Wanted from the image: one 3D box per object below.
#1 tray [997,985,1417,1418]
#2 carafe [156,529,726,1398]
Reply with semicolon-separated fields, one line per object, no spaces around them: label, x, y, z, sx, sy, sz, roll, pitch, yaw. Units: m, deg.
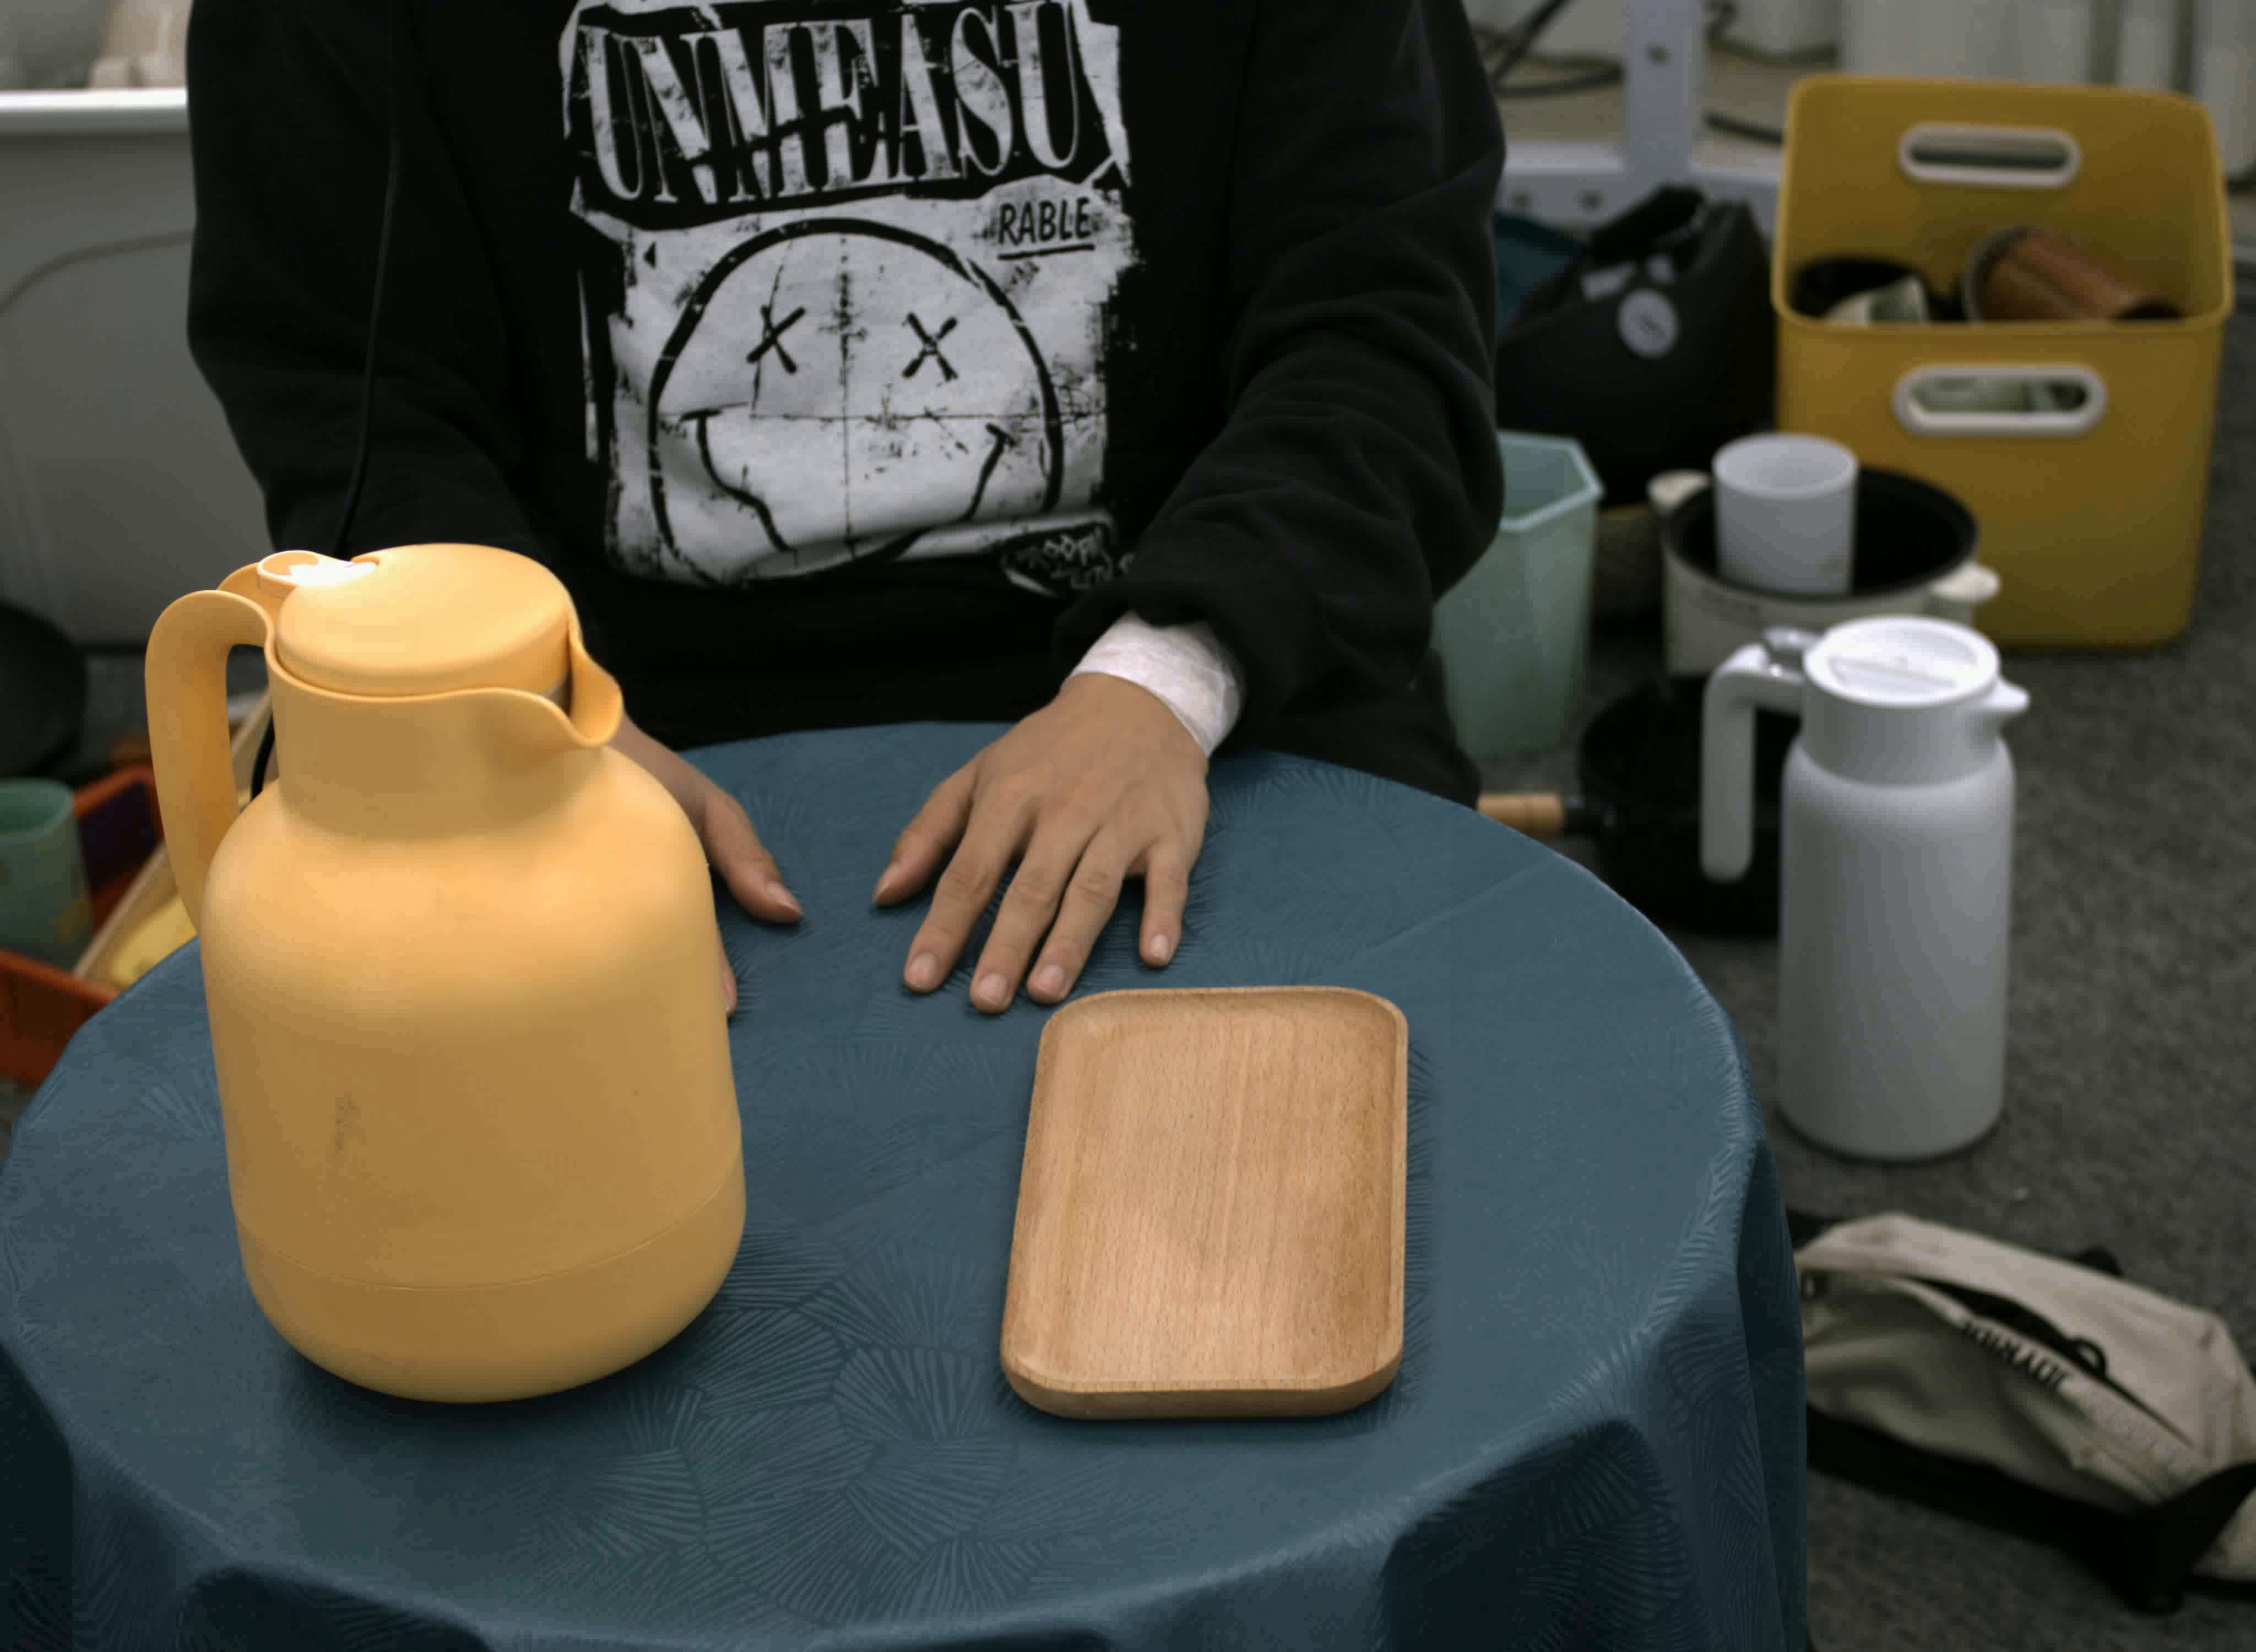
tray;0.029;0.120;1.840;0.130;0.022;0.254;2;27;4
carafe;-0.224;0.032;1.769;0.202;0.258;0.165;21;32;36
